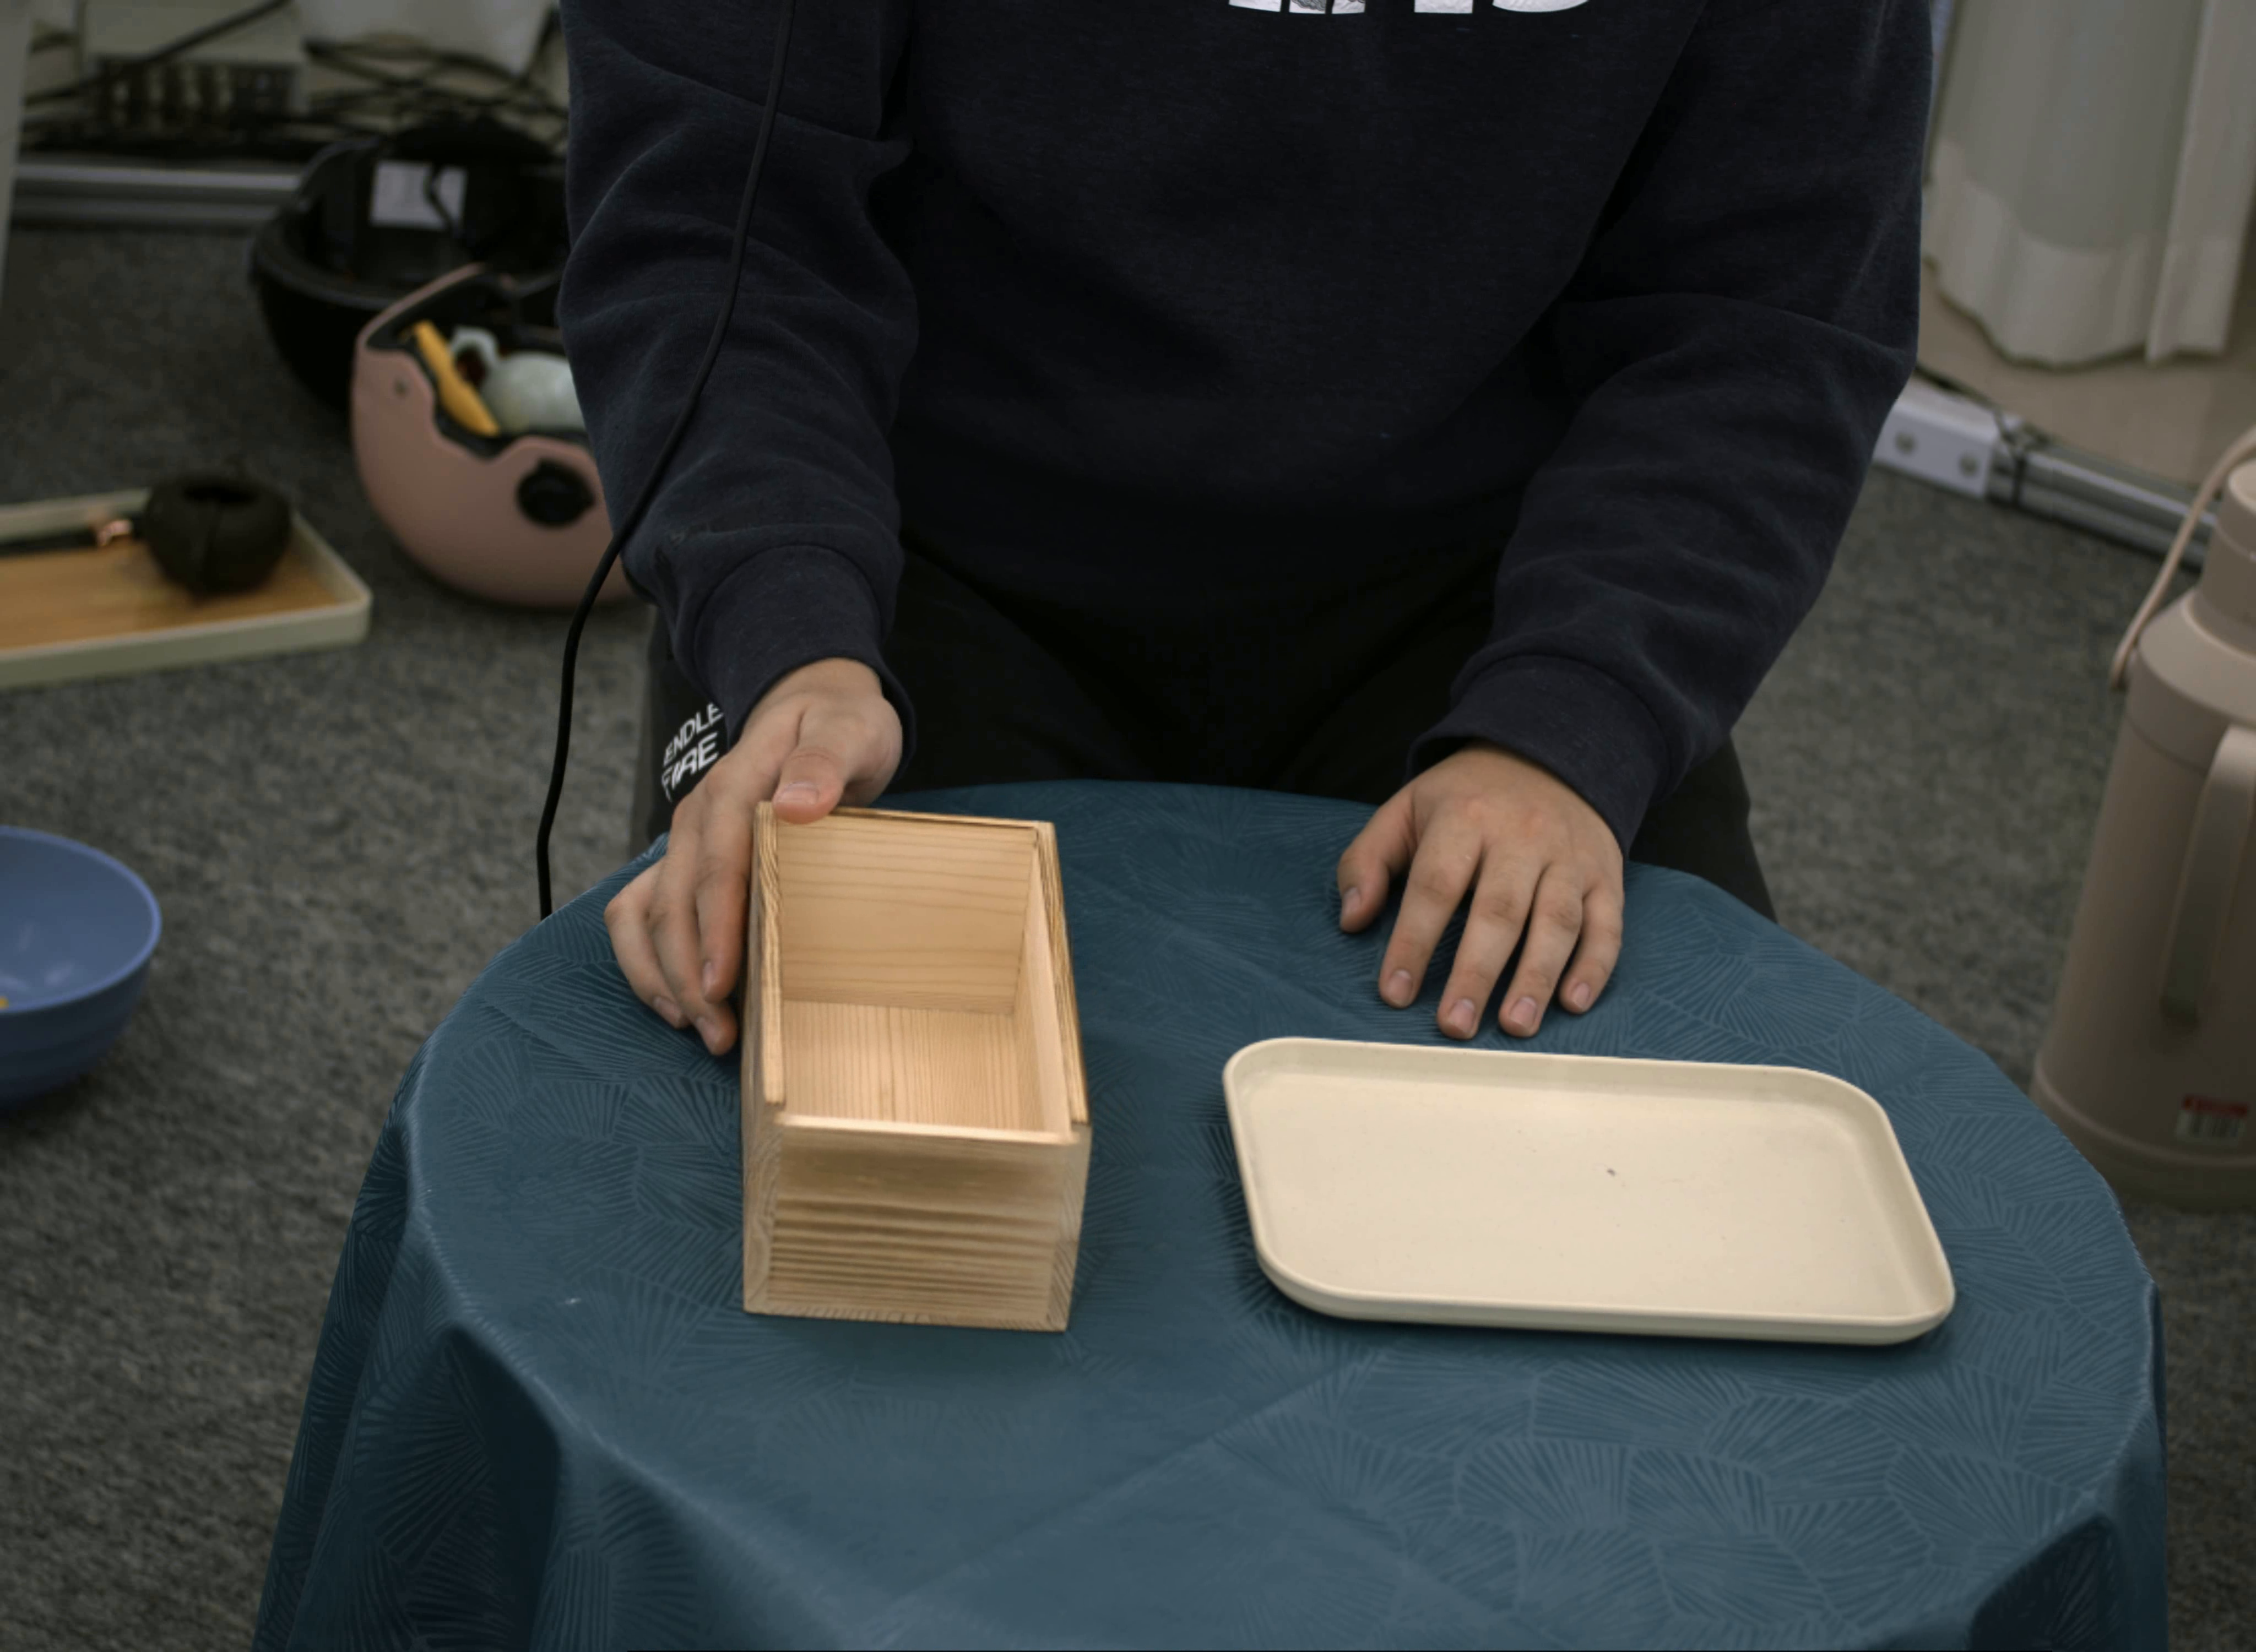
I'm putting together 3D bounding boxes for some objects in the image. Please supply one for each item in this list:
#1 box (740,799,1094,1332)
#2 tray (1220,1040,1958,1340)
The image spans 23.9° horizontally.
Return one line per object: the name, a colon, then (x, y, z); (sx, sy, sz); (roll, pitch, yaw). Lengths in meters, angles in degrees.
box: (-0.074, 0.077, 1.792); (0.107, 0.080, 0.213); (4, 27, -7)
tray: (0.154, 0.126, 1.820); (0.238, 0.017, 0.172); (3, 26, -7)
